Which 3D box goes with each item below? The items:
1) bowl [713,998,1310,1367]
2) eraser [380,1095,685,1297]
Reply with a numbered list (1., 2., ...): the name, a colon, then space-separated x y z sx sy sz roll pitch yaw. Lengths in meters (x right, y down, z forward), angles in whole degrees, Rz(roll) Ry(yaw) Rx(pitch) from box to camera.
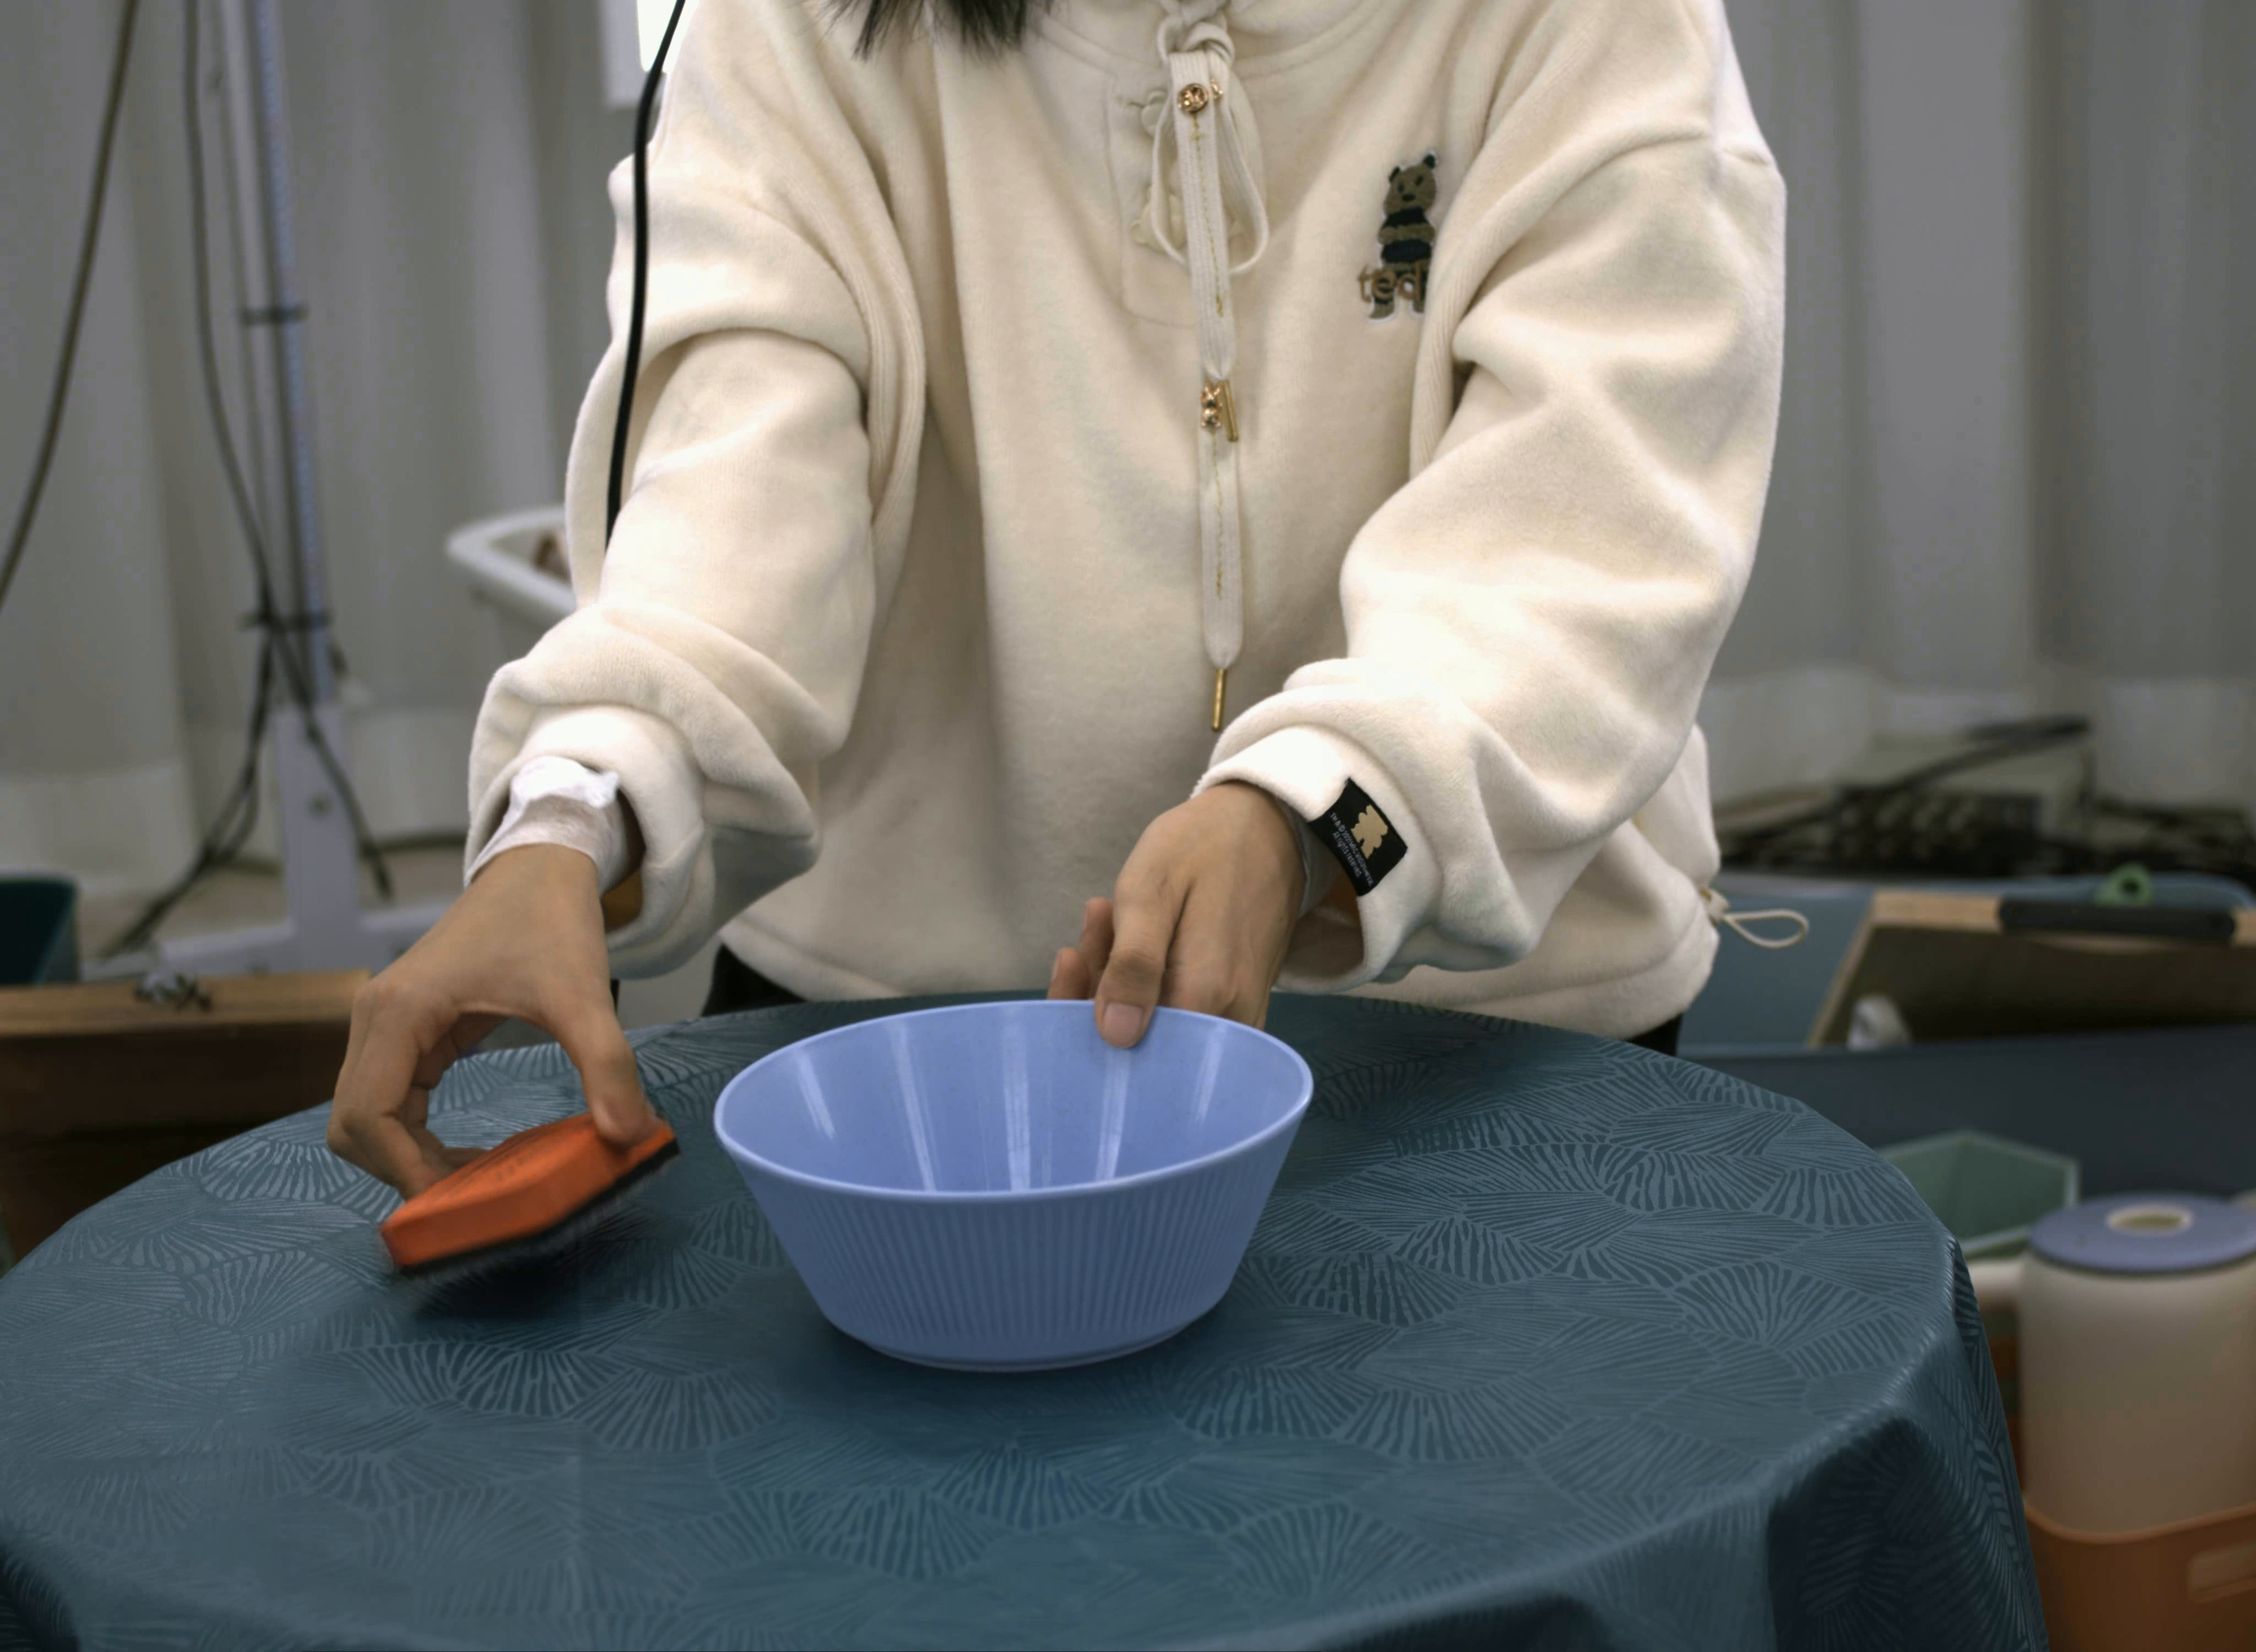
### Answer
1. bowl: -0.033 0.107 1.607 0.175 0.070 0.177 -3 16 0
2. eraser: -0.181 0.112 1.670 0.059 0.023 0.108 -17 8 22
